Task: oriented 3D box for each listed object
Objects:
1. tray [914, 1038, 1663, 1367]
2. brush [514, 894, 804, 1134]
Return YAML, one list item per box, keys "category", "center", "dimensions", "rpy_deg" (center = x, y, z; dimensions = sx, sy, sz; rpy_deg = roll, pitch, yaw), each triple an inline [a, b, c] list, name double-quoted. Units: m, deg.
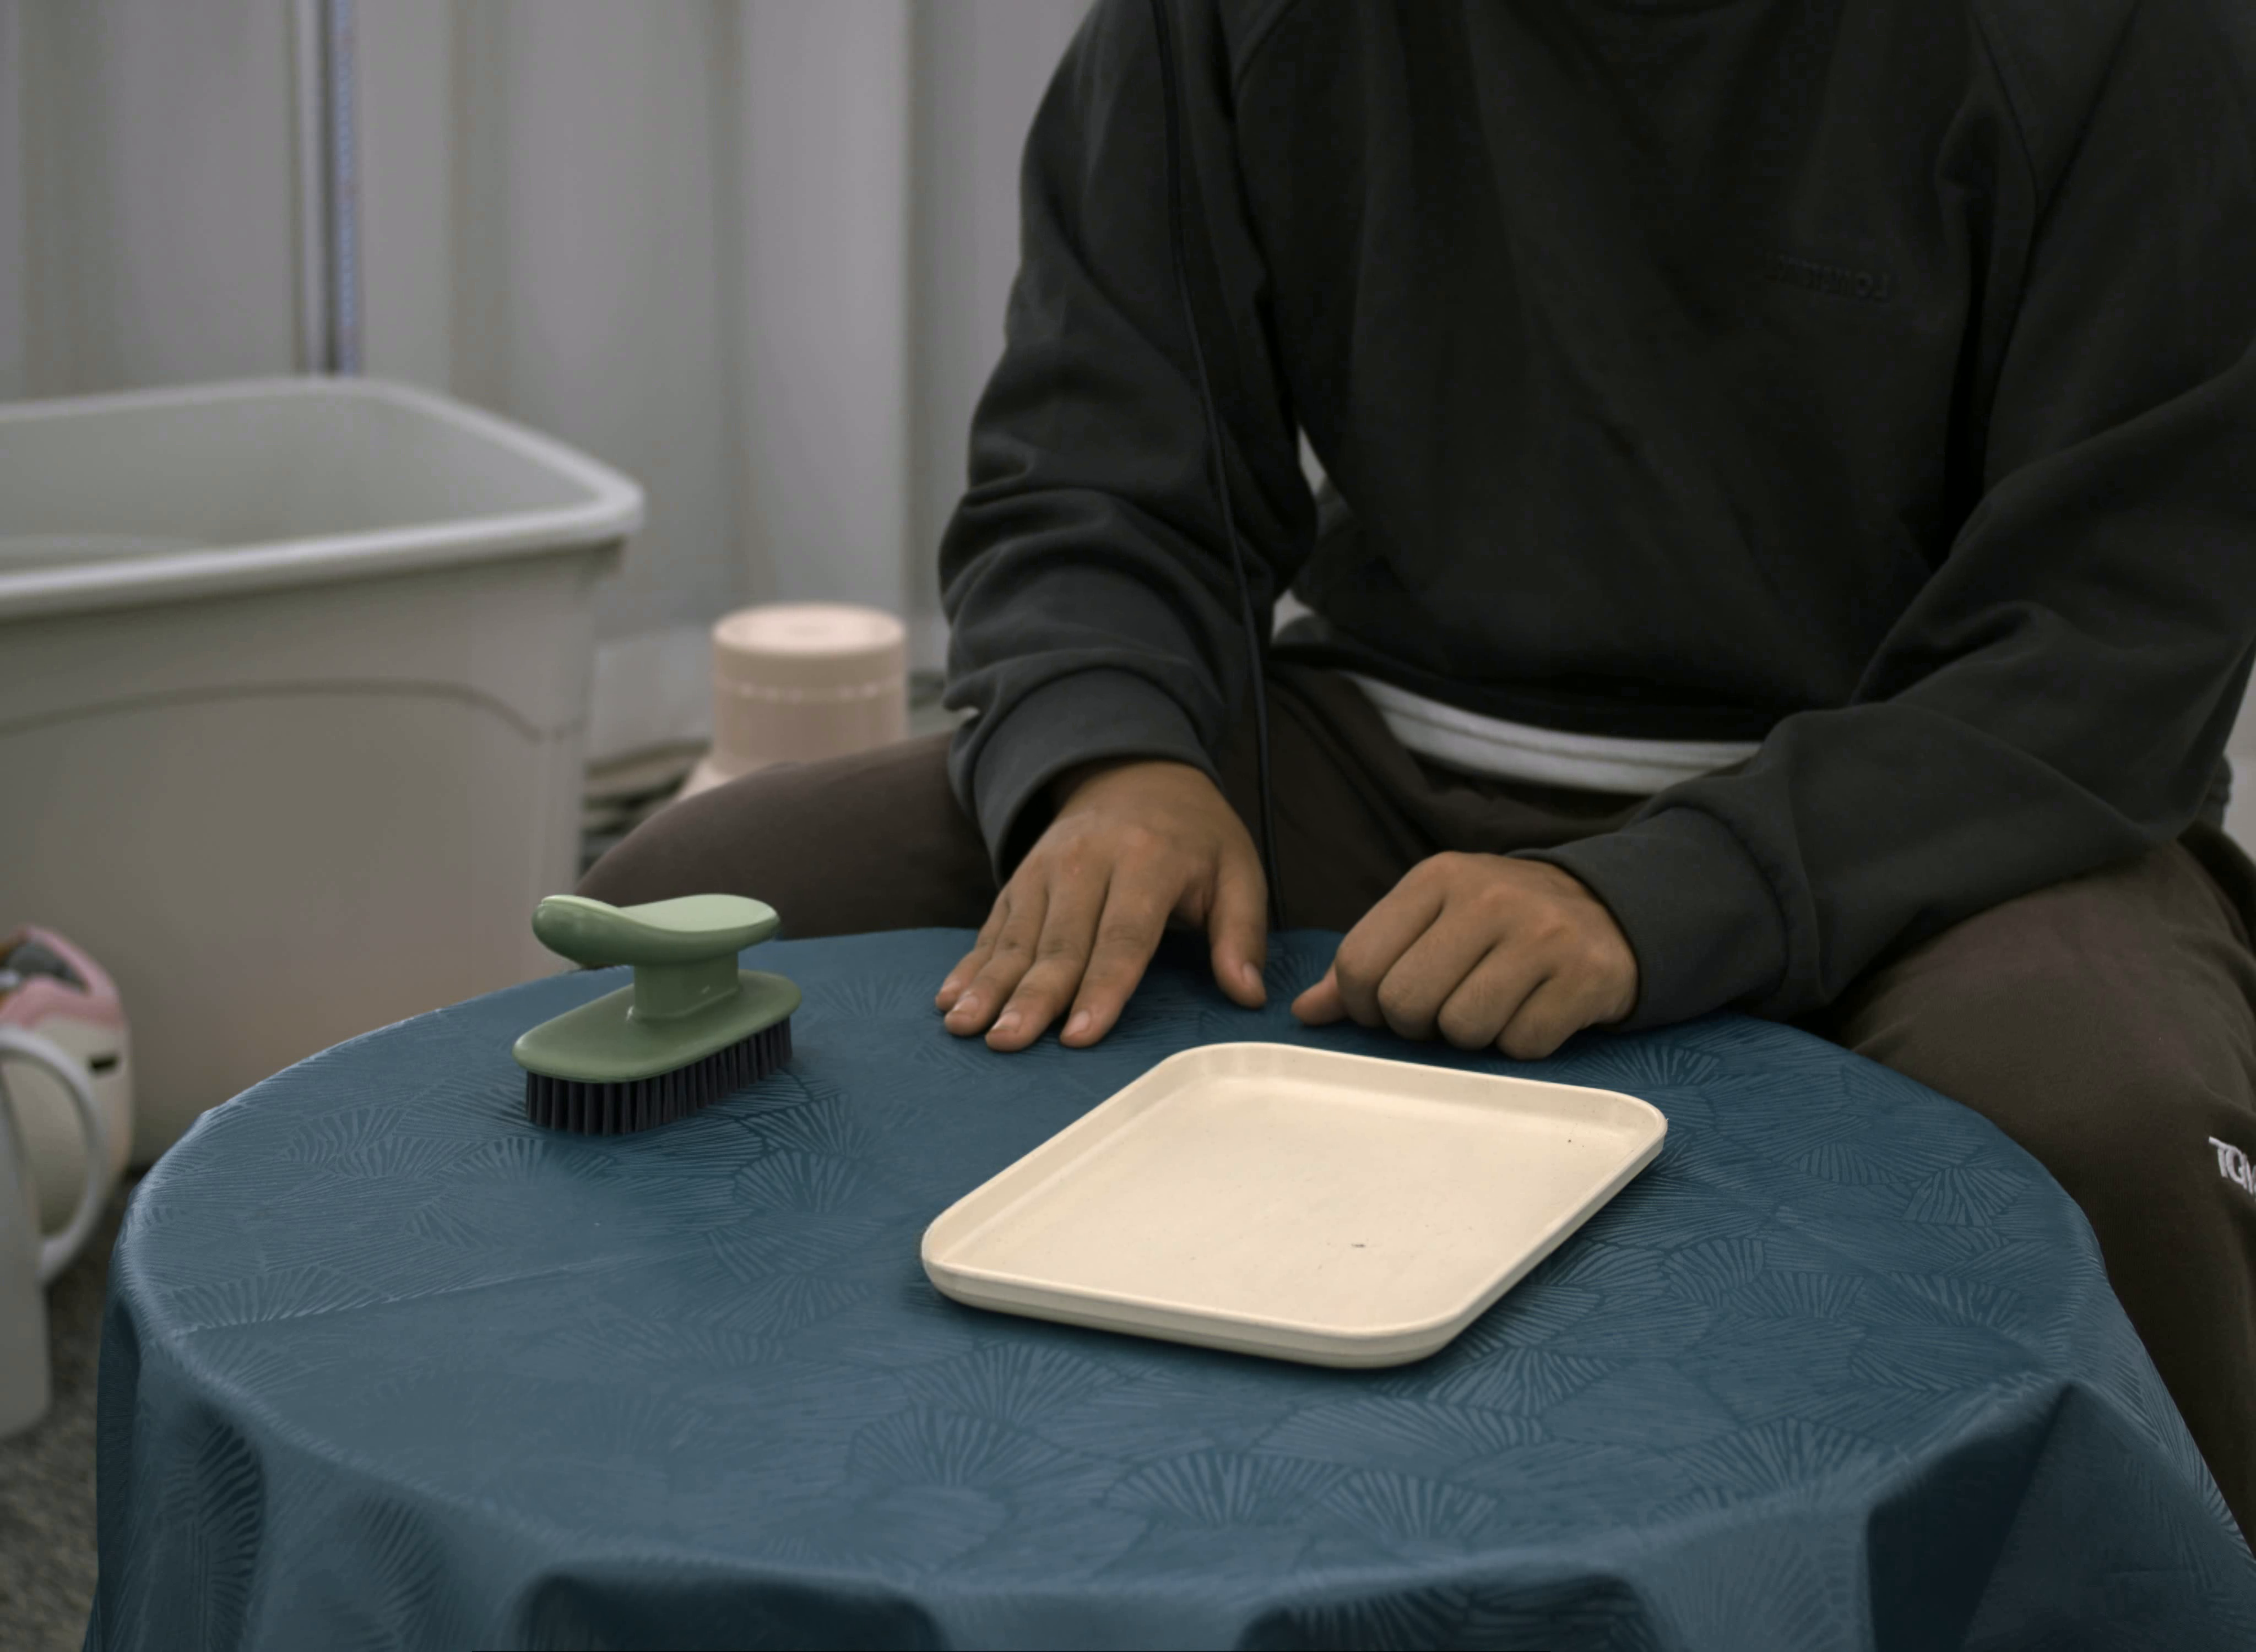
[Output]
- category: "tray"
  center: [0.052, 0.112, 1.595]
  dimensions: [0.169, 0.017, 0.240]
  rpy_deg: [8, 17, 23]
- category: "brush"
  center: [-0.153, 0.060, 1.710]
  dimensions: [0.059, 0.076, 0.124]
  rpy_deg: [10, 4, 27]
